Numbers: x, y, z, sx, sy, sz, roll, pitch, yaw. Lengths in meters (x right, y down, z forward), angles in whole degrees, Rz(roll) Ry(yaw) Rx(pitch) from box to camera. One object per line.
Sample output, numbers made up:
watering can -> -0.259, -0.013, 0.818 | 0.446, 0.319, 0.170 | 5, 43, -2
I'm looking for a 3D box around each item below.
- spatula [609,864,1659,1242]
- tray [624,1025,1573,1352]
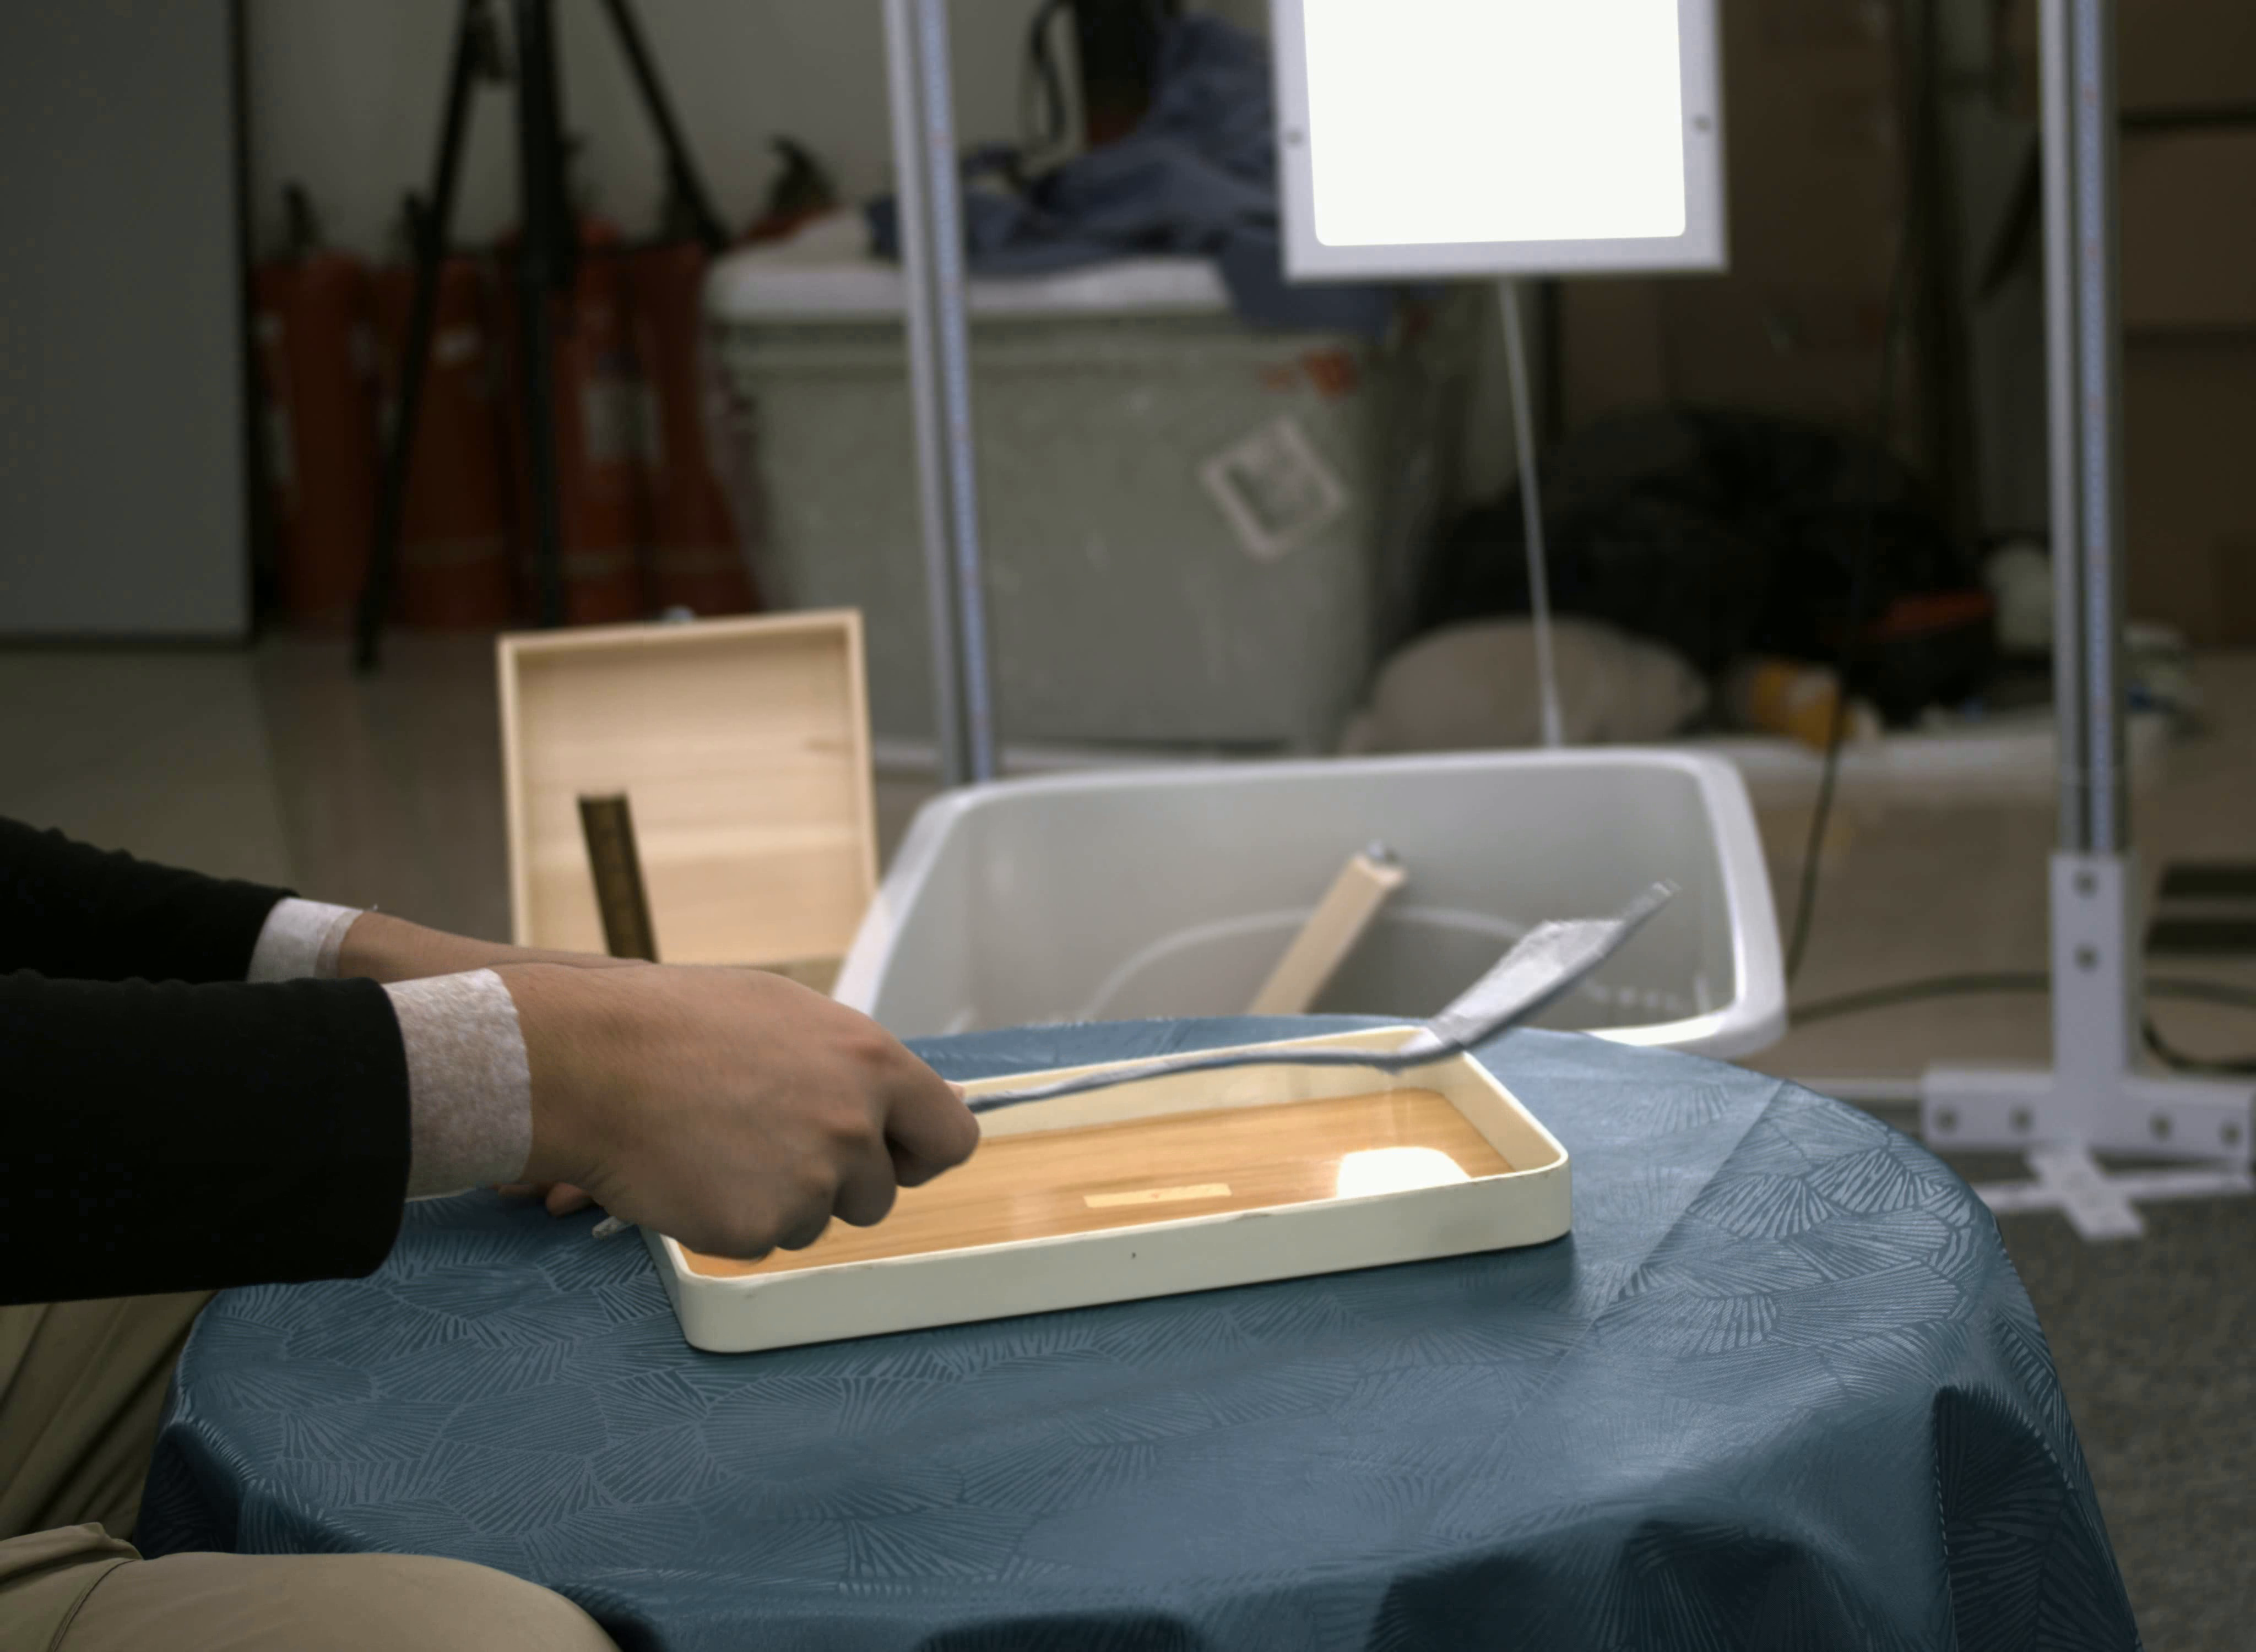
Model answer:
spatula -> 0.005, 0.070, 1.700 | 0.357, 0.045, 0.100 | -11, -8, -25
tray -> -0.014, 0.121, 1.870 | 0.297, 0.027, 0.192 | -7, 14, -8
